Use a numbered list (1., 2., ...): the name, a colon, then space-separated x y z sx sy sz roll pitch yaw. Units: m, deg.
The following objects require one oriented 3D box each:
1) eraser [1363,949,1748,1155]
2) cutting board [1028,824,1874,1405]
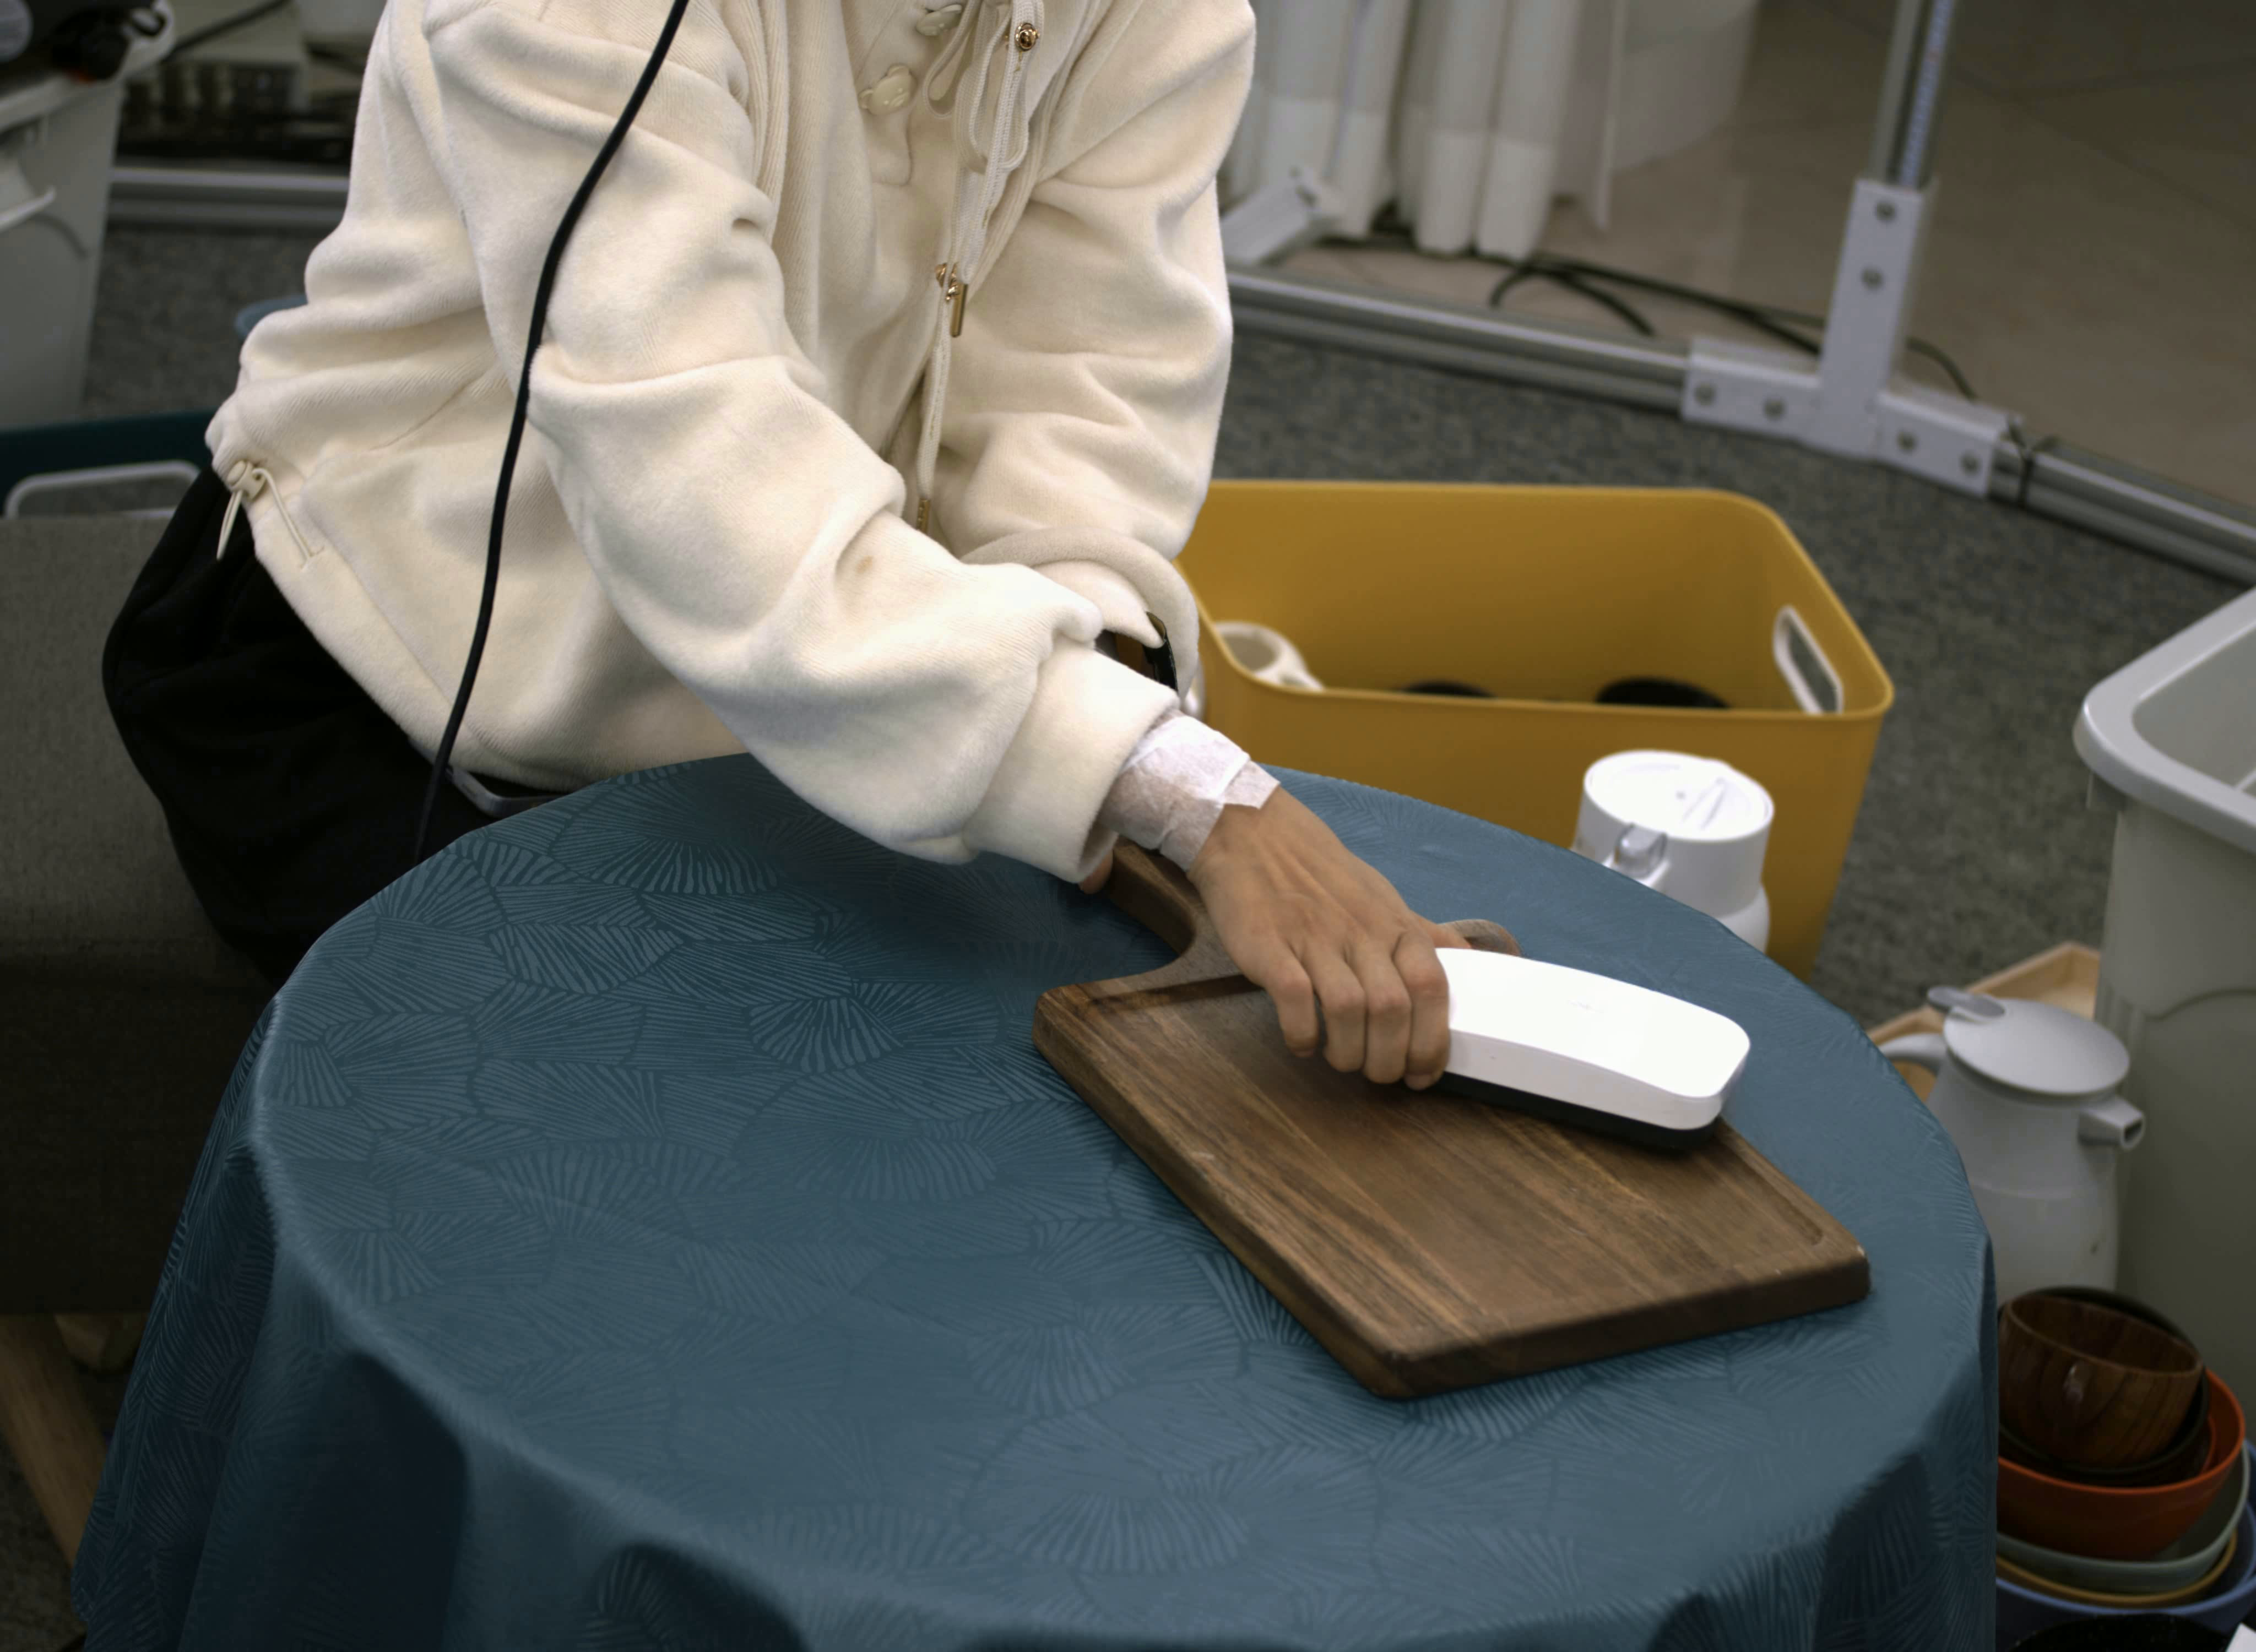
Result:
1. eraser: 0.149 0.076 1.858 0.132 0.034 0.063 15 29 21
2. cutting board: 0.084 0.087 1.869 0.200 0.023 0.355 -9 31 -28
